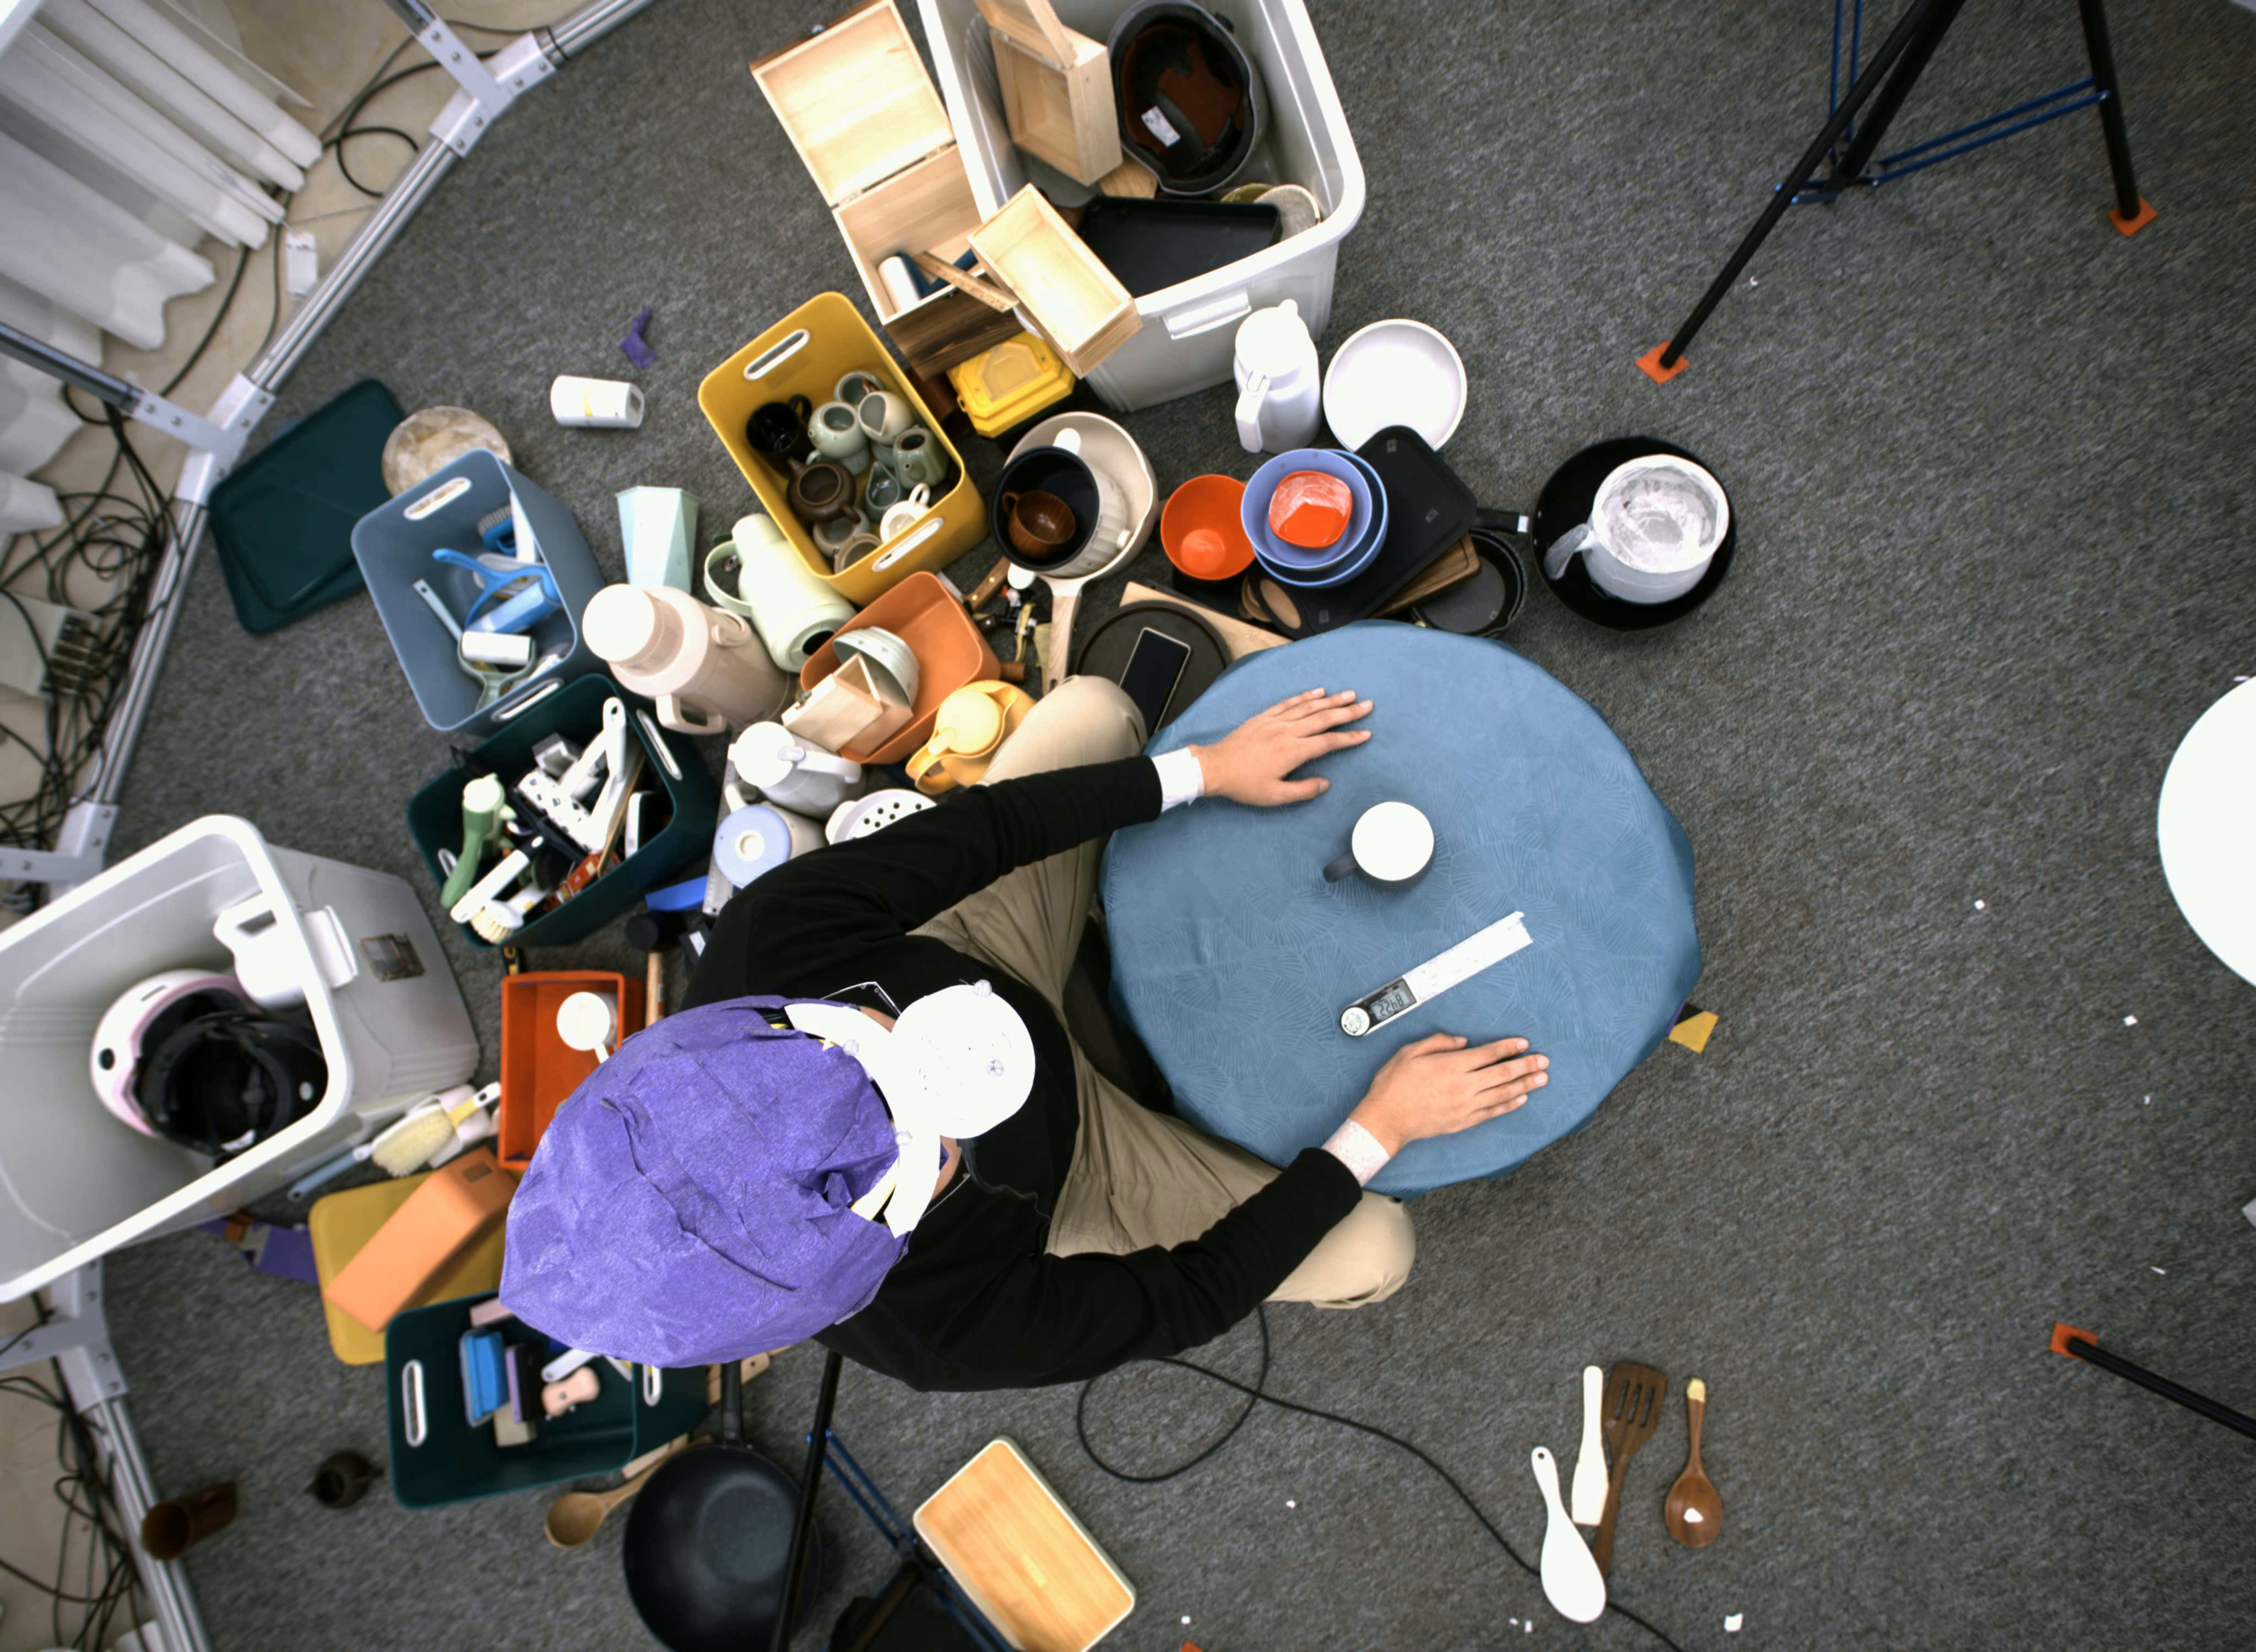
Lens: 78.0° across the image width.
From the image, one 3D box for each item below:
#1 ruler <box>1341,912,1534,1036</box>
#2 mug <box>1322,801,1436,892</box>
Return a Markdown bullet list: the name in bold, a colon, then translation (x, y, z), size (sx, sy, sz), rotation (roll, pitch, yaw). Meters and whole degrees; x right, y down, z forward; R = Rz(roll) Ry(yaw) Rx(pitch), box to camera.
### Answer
- **ruler**: translation (0.319, 0.156, 1.435), size (0.219, 0.024, 0.038), rotation (-30, 88, 9)
- **mug**: translation (0.257, 0.024, 1.418), size (0.124, 0.090, 0.093), rotation (-24, 81, 7)
